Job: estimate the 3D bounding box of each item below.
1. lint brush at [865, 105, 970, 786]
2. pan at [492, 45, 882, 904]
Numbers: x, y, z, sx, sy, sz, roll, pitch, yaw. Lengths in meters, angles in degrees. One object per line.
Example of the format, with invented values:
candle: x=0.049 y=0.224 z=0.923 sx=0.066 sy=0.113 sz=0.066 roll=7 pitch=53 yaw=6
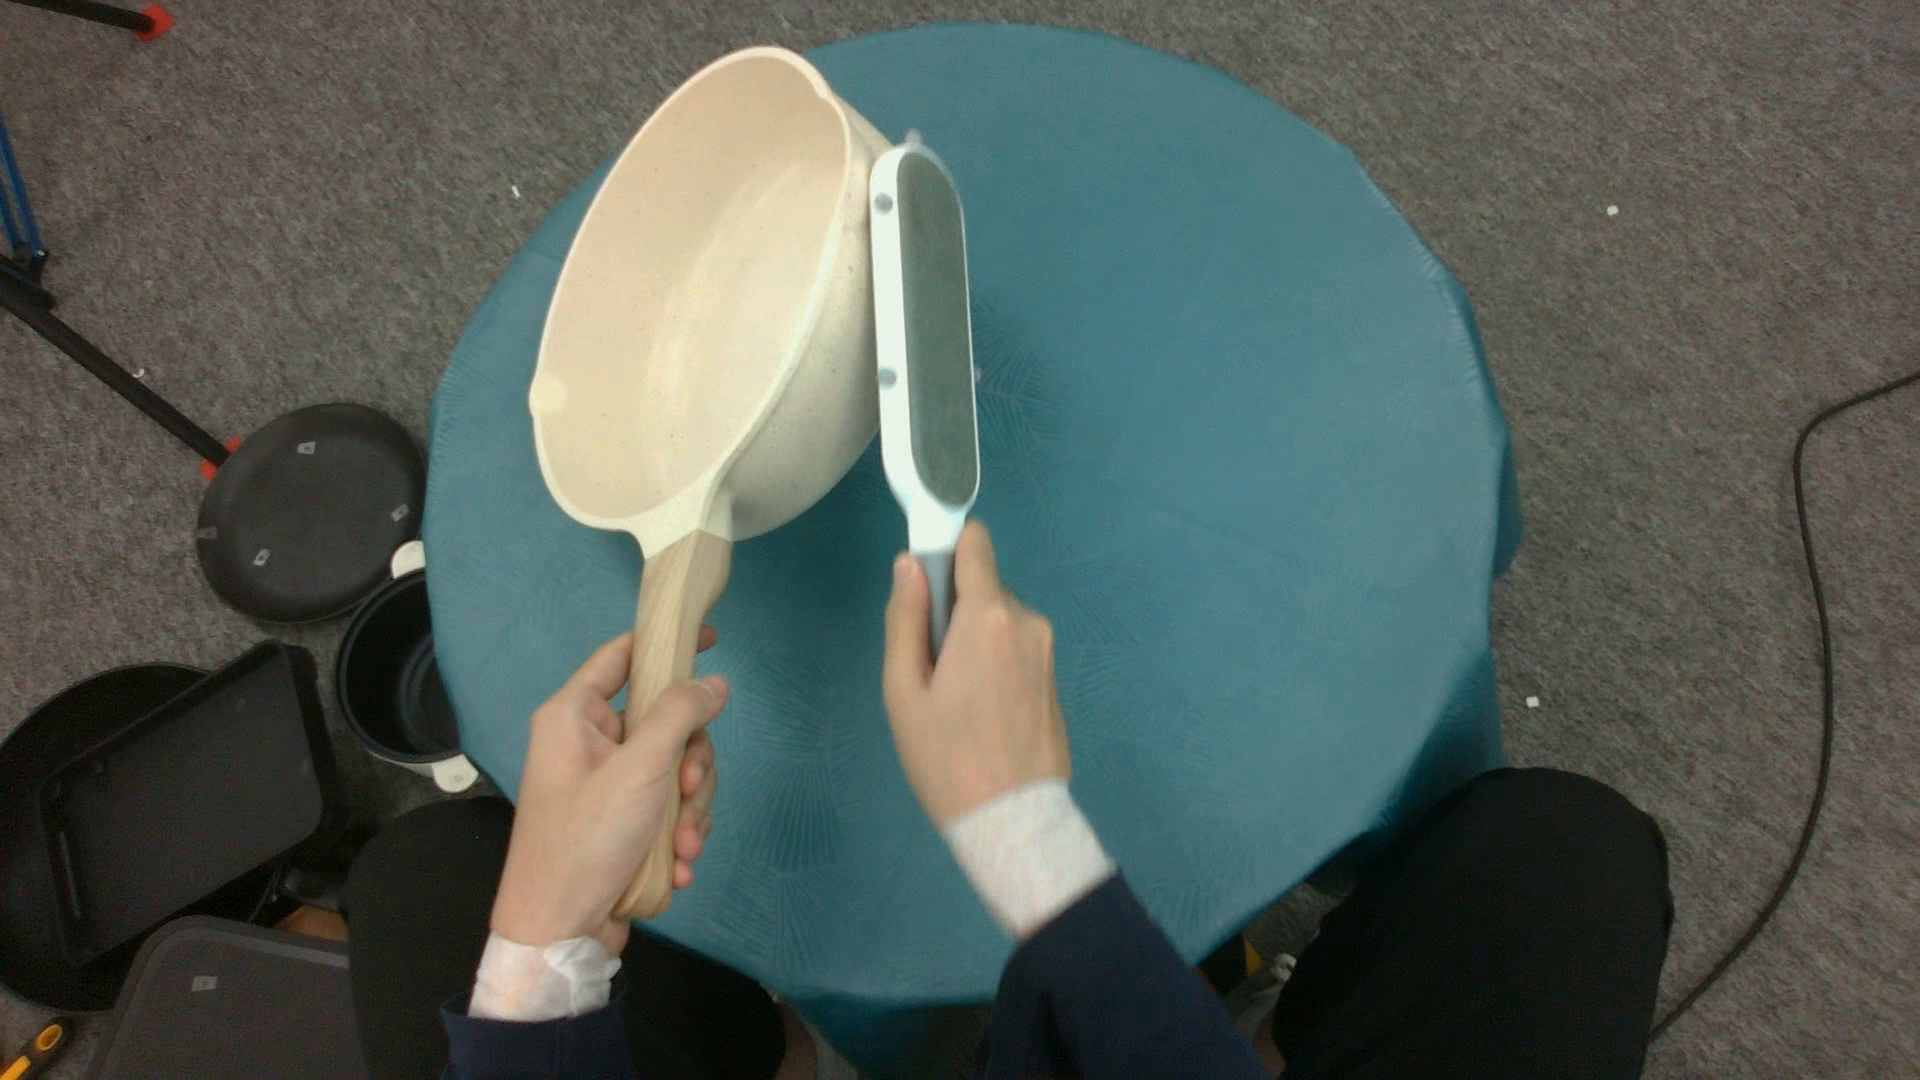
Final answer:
lint brush: x=-0.016 y=-0.049 z=0.604 sx=0.021 sy=0.060 sz=0.309 roll=-11 pitch=75 yaw=29
pan: x=-0.124 y=-0.040 z=0.659 sx=0.262 sy=0.102 sz=0.436 roll=-24 pitch=58 yaw=31
